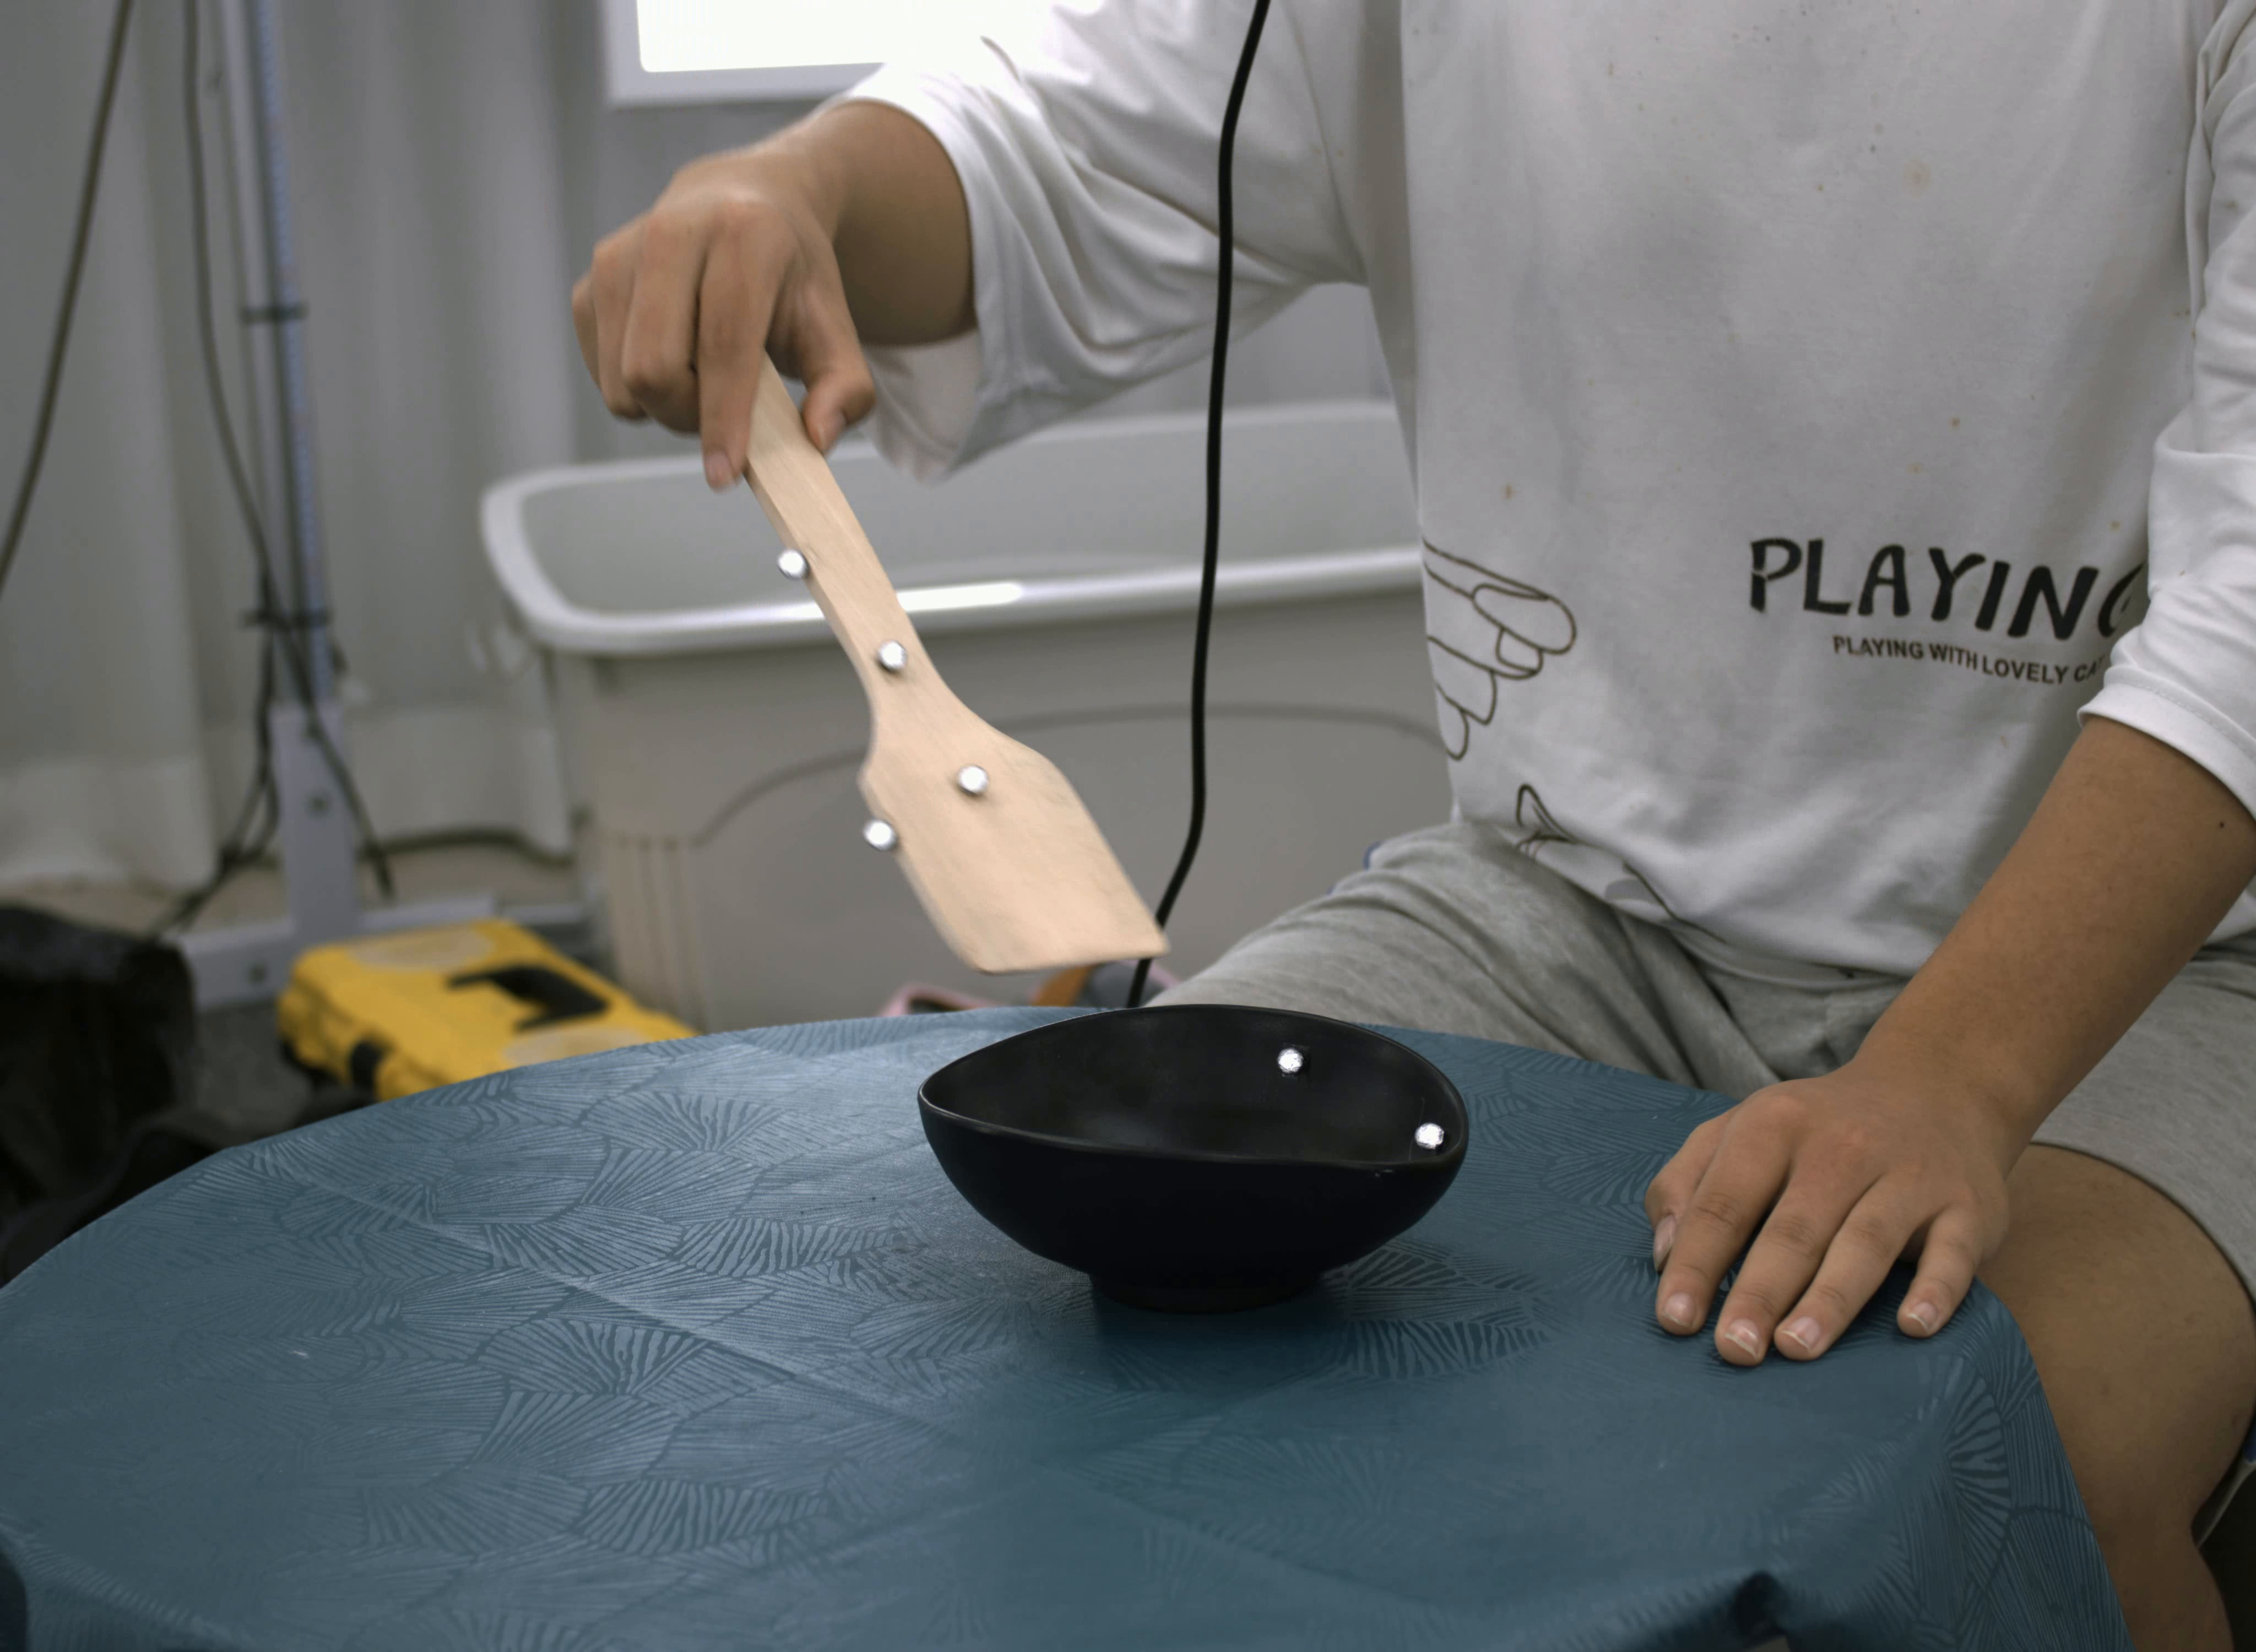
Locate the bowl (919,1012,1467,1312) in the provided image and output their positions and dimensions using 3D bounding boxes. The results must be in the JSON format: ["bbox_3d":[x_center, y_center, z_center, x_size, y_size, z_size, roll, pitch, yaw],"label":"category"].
[{"bbox_3d":[0.020,0.104,1.632,0.170,0.066,0.137,5,15,21],"label":"bowl"}]

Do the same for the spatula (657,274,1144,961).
[{"bbox_3d":[-0.084,-0.069,1.701,0.072,0.010,0.297,-5,50,-33],"label":"spatula"}]
